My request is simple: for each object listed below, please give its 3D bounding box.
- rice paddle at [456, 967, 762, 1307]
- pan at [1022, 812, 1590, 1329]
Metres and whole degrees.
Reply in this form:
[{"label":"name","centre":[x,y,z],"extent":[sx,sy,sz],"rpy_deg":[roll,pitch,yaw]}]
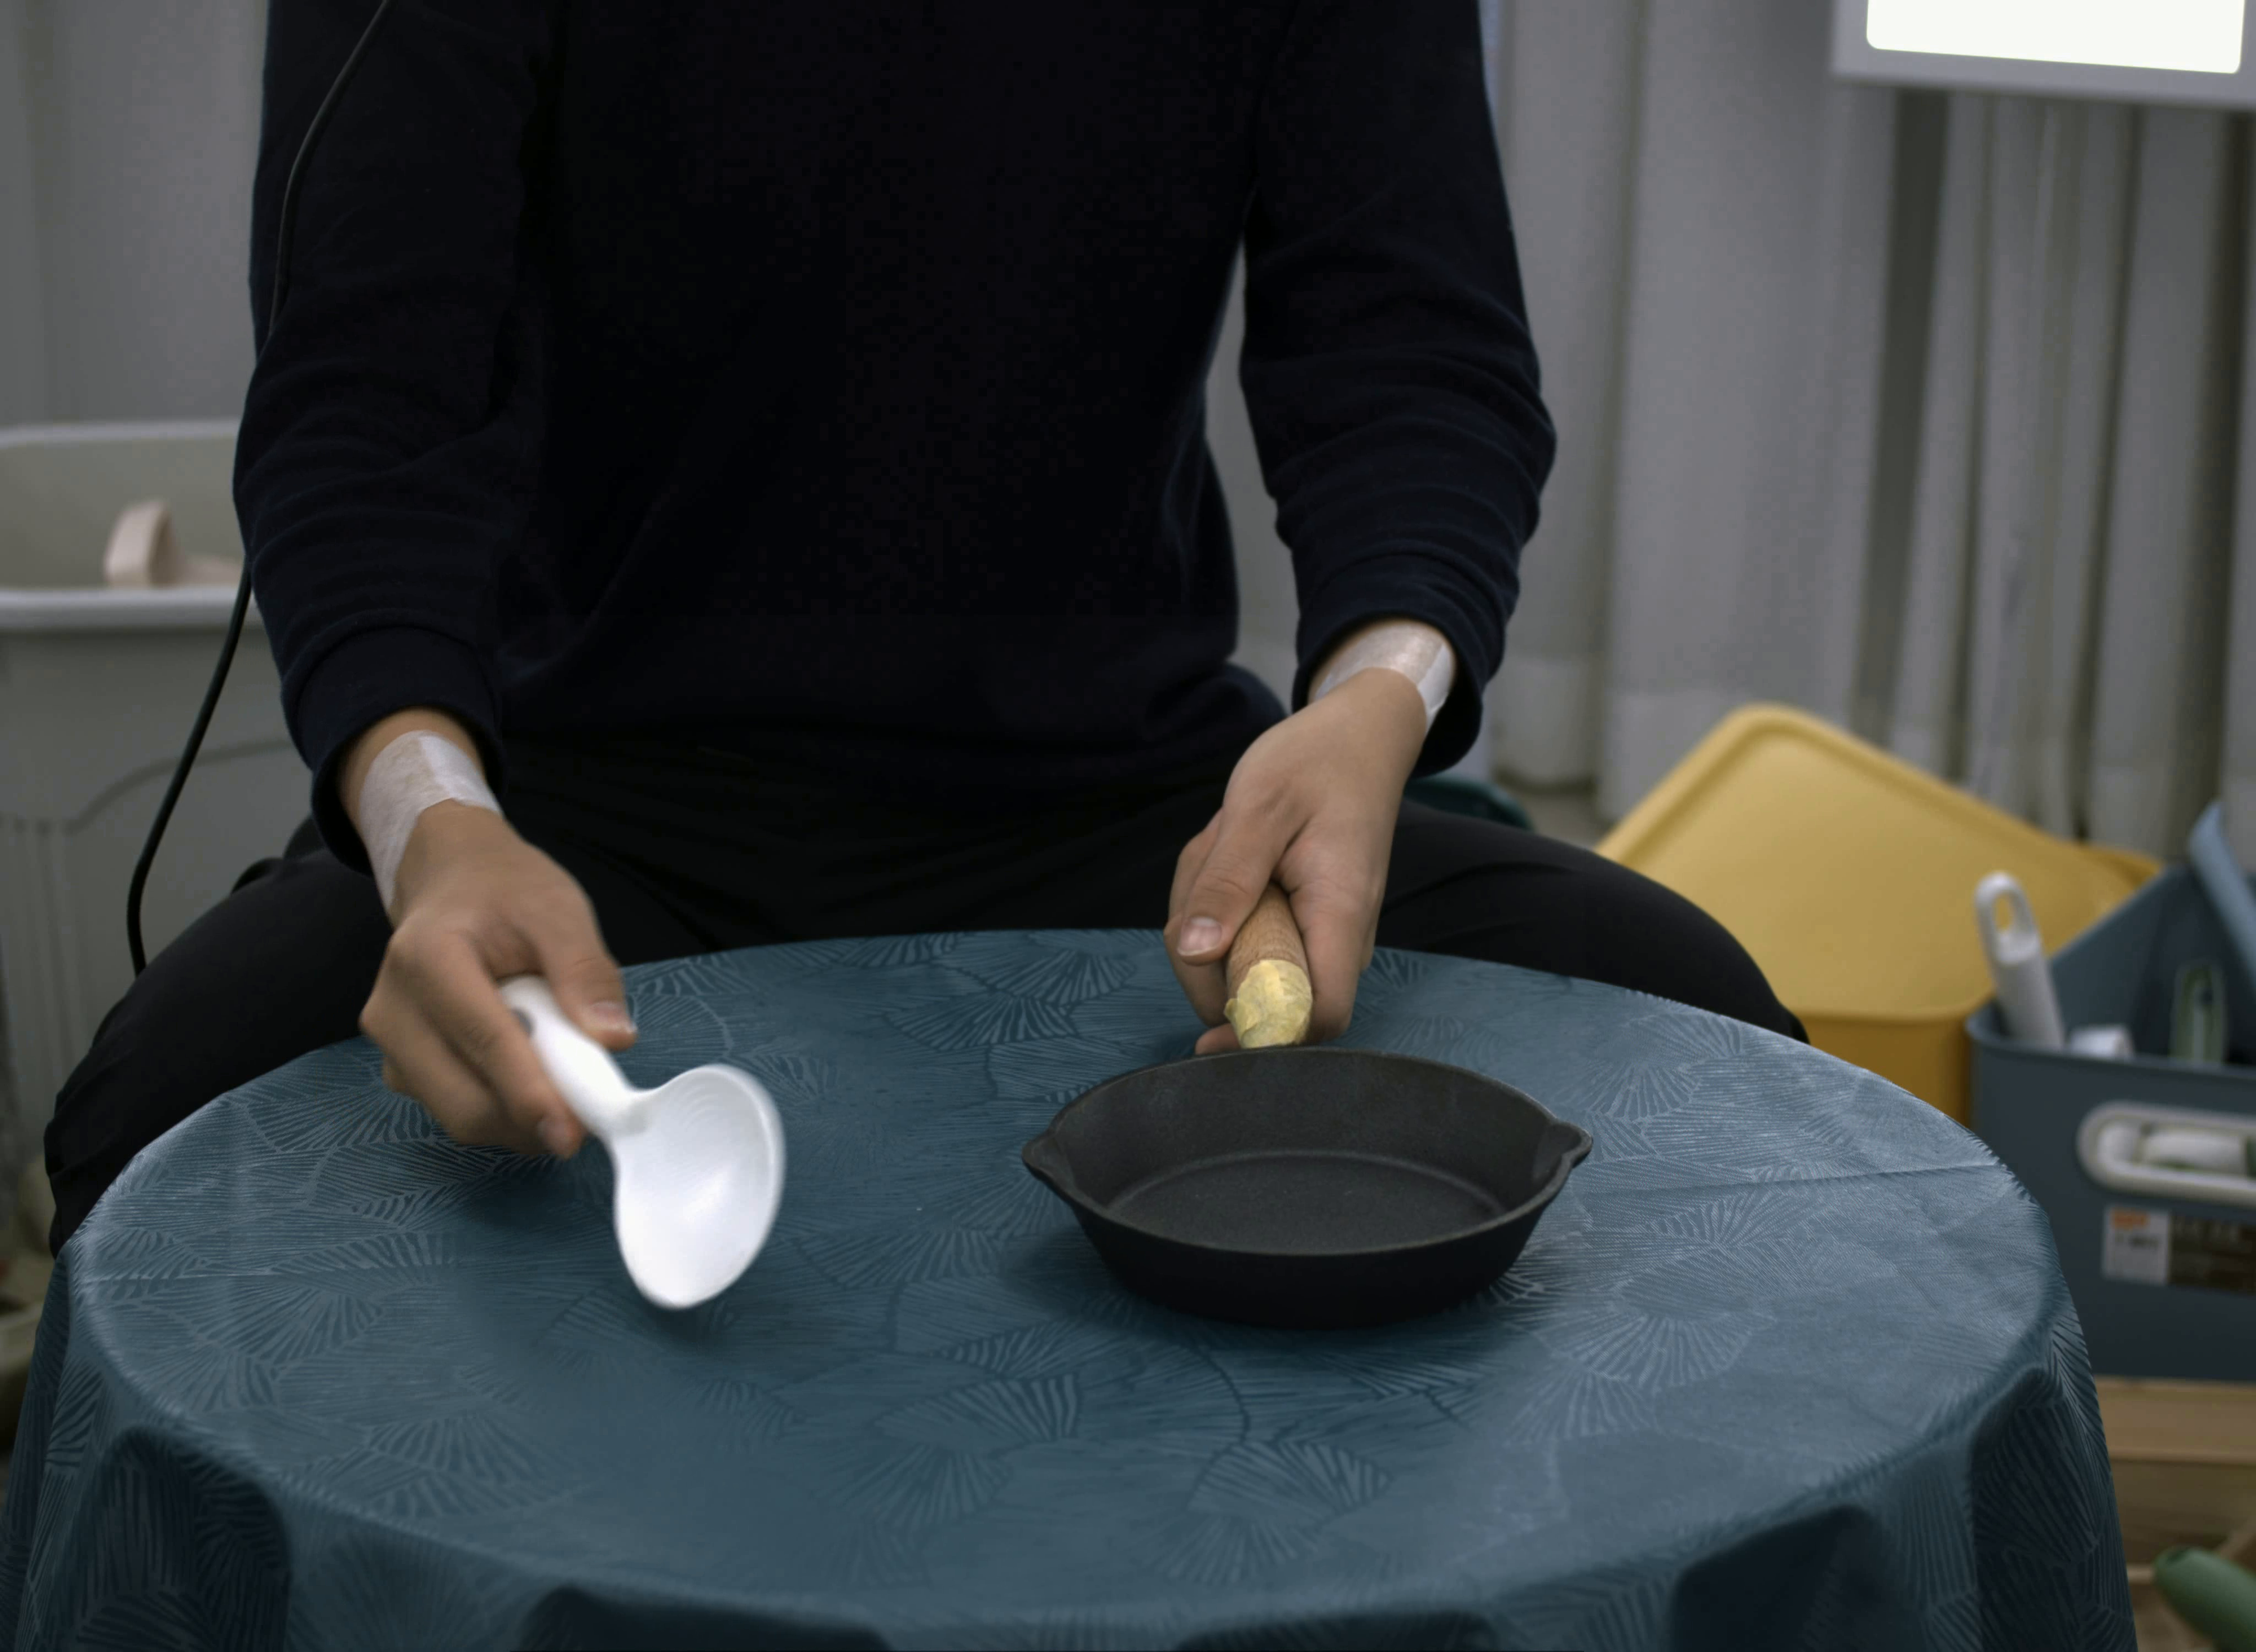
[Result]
[{"label":"rice paddle","centre":[-0.153,0.086,1.556],"extent":[0.029,0.069,0.202],"rpy_deg":[19,7,-30]},{"label":"pan","centre":[0.051,0.072,1.638],"extent":[0.168,0.050,0.322],"rpy_deg":[0,21,-2]}]
